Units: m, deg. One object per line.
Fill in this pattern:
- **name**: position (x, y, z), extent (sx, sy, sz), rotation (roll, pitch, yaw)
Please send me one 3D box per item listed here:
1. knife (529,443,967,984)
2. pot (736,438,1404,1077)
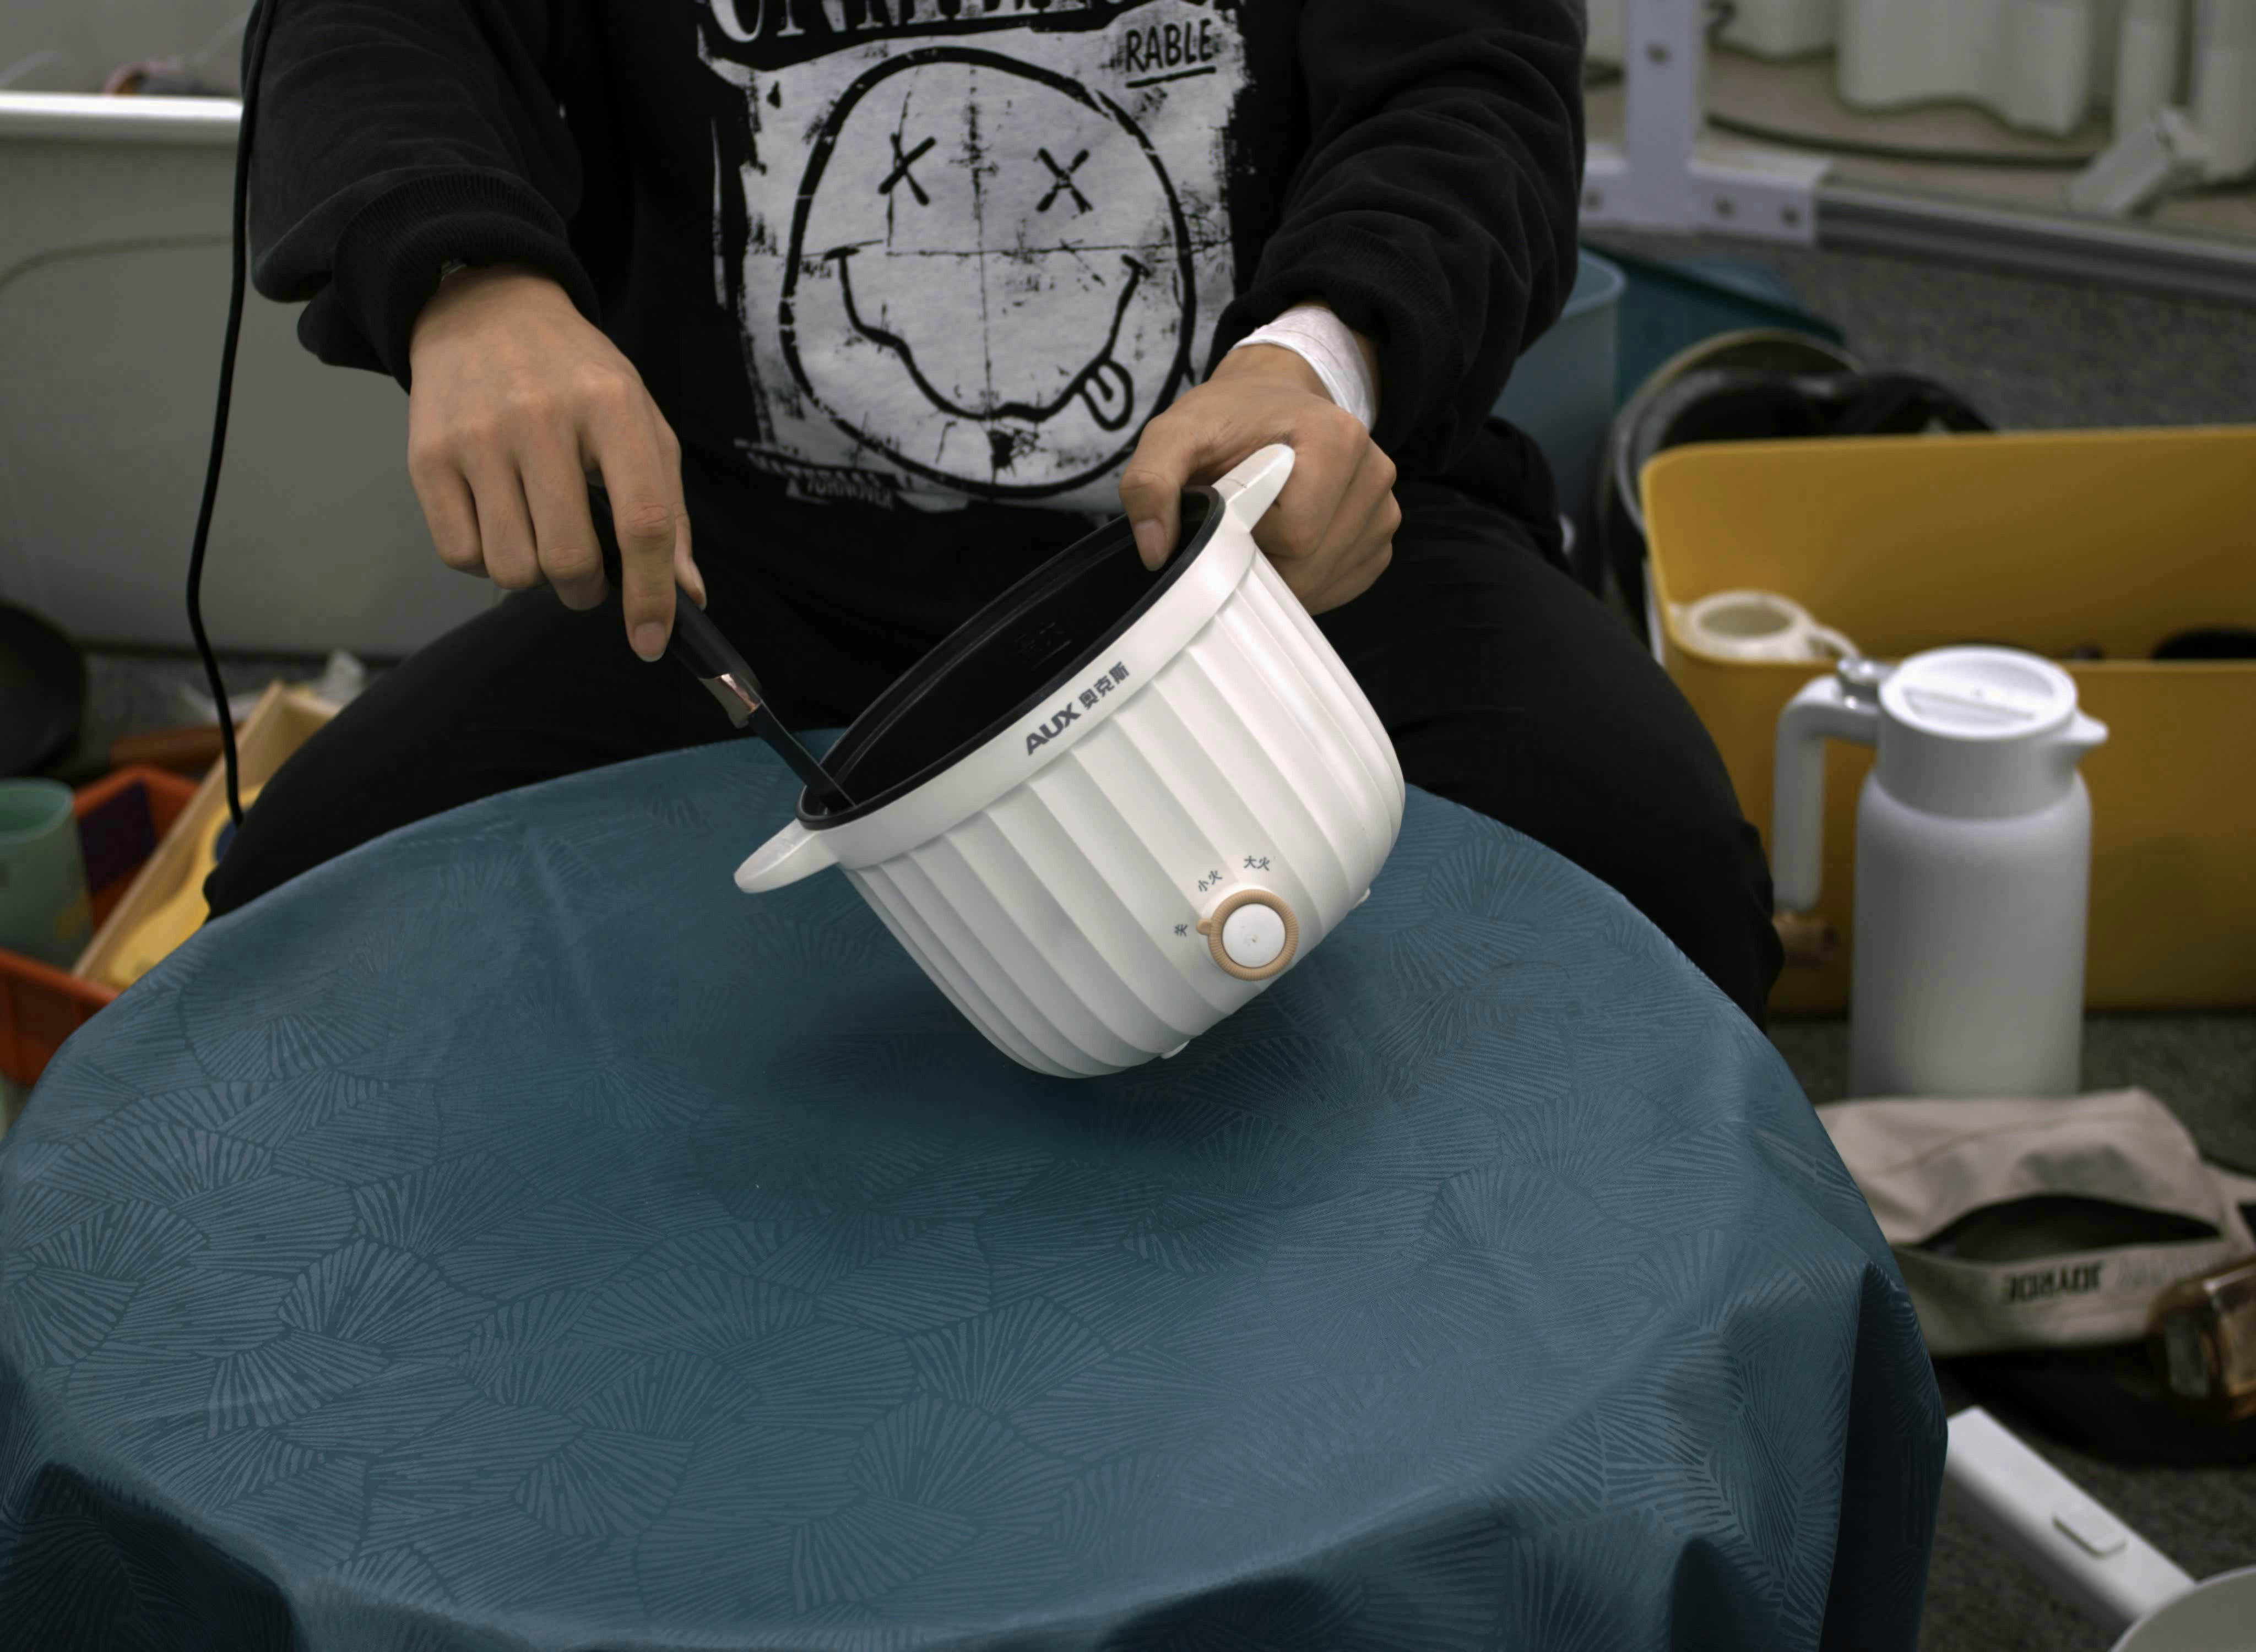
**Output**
- **knife**: position (-0.123, -0.037, 1.872), extent (0.026, 0.225, 0.017), rotation (-40, 1, 36)
- **pot**: position (0.000, -0.009, 1.907), extent (0.241, 0.142, 0.190), rotation (-40, 9, -6)
